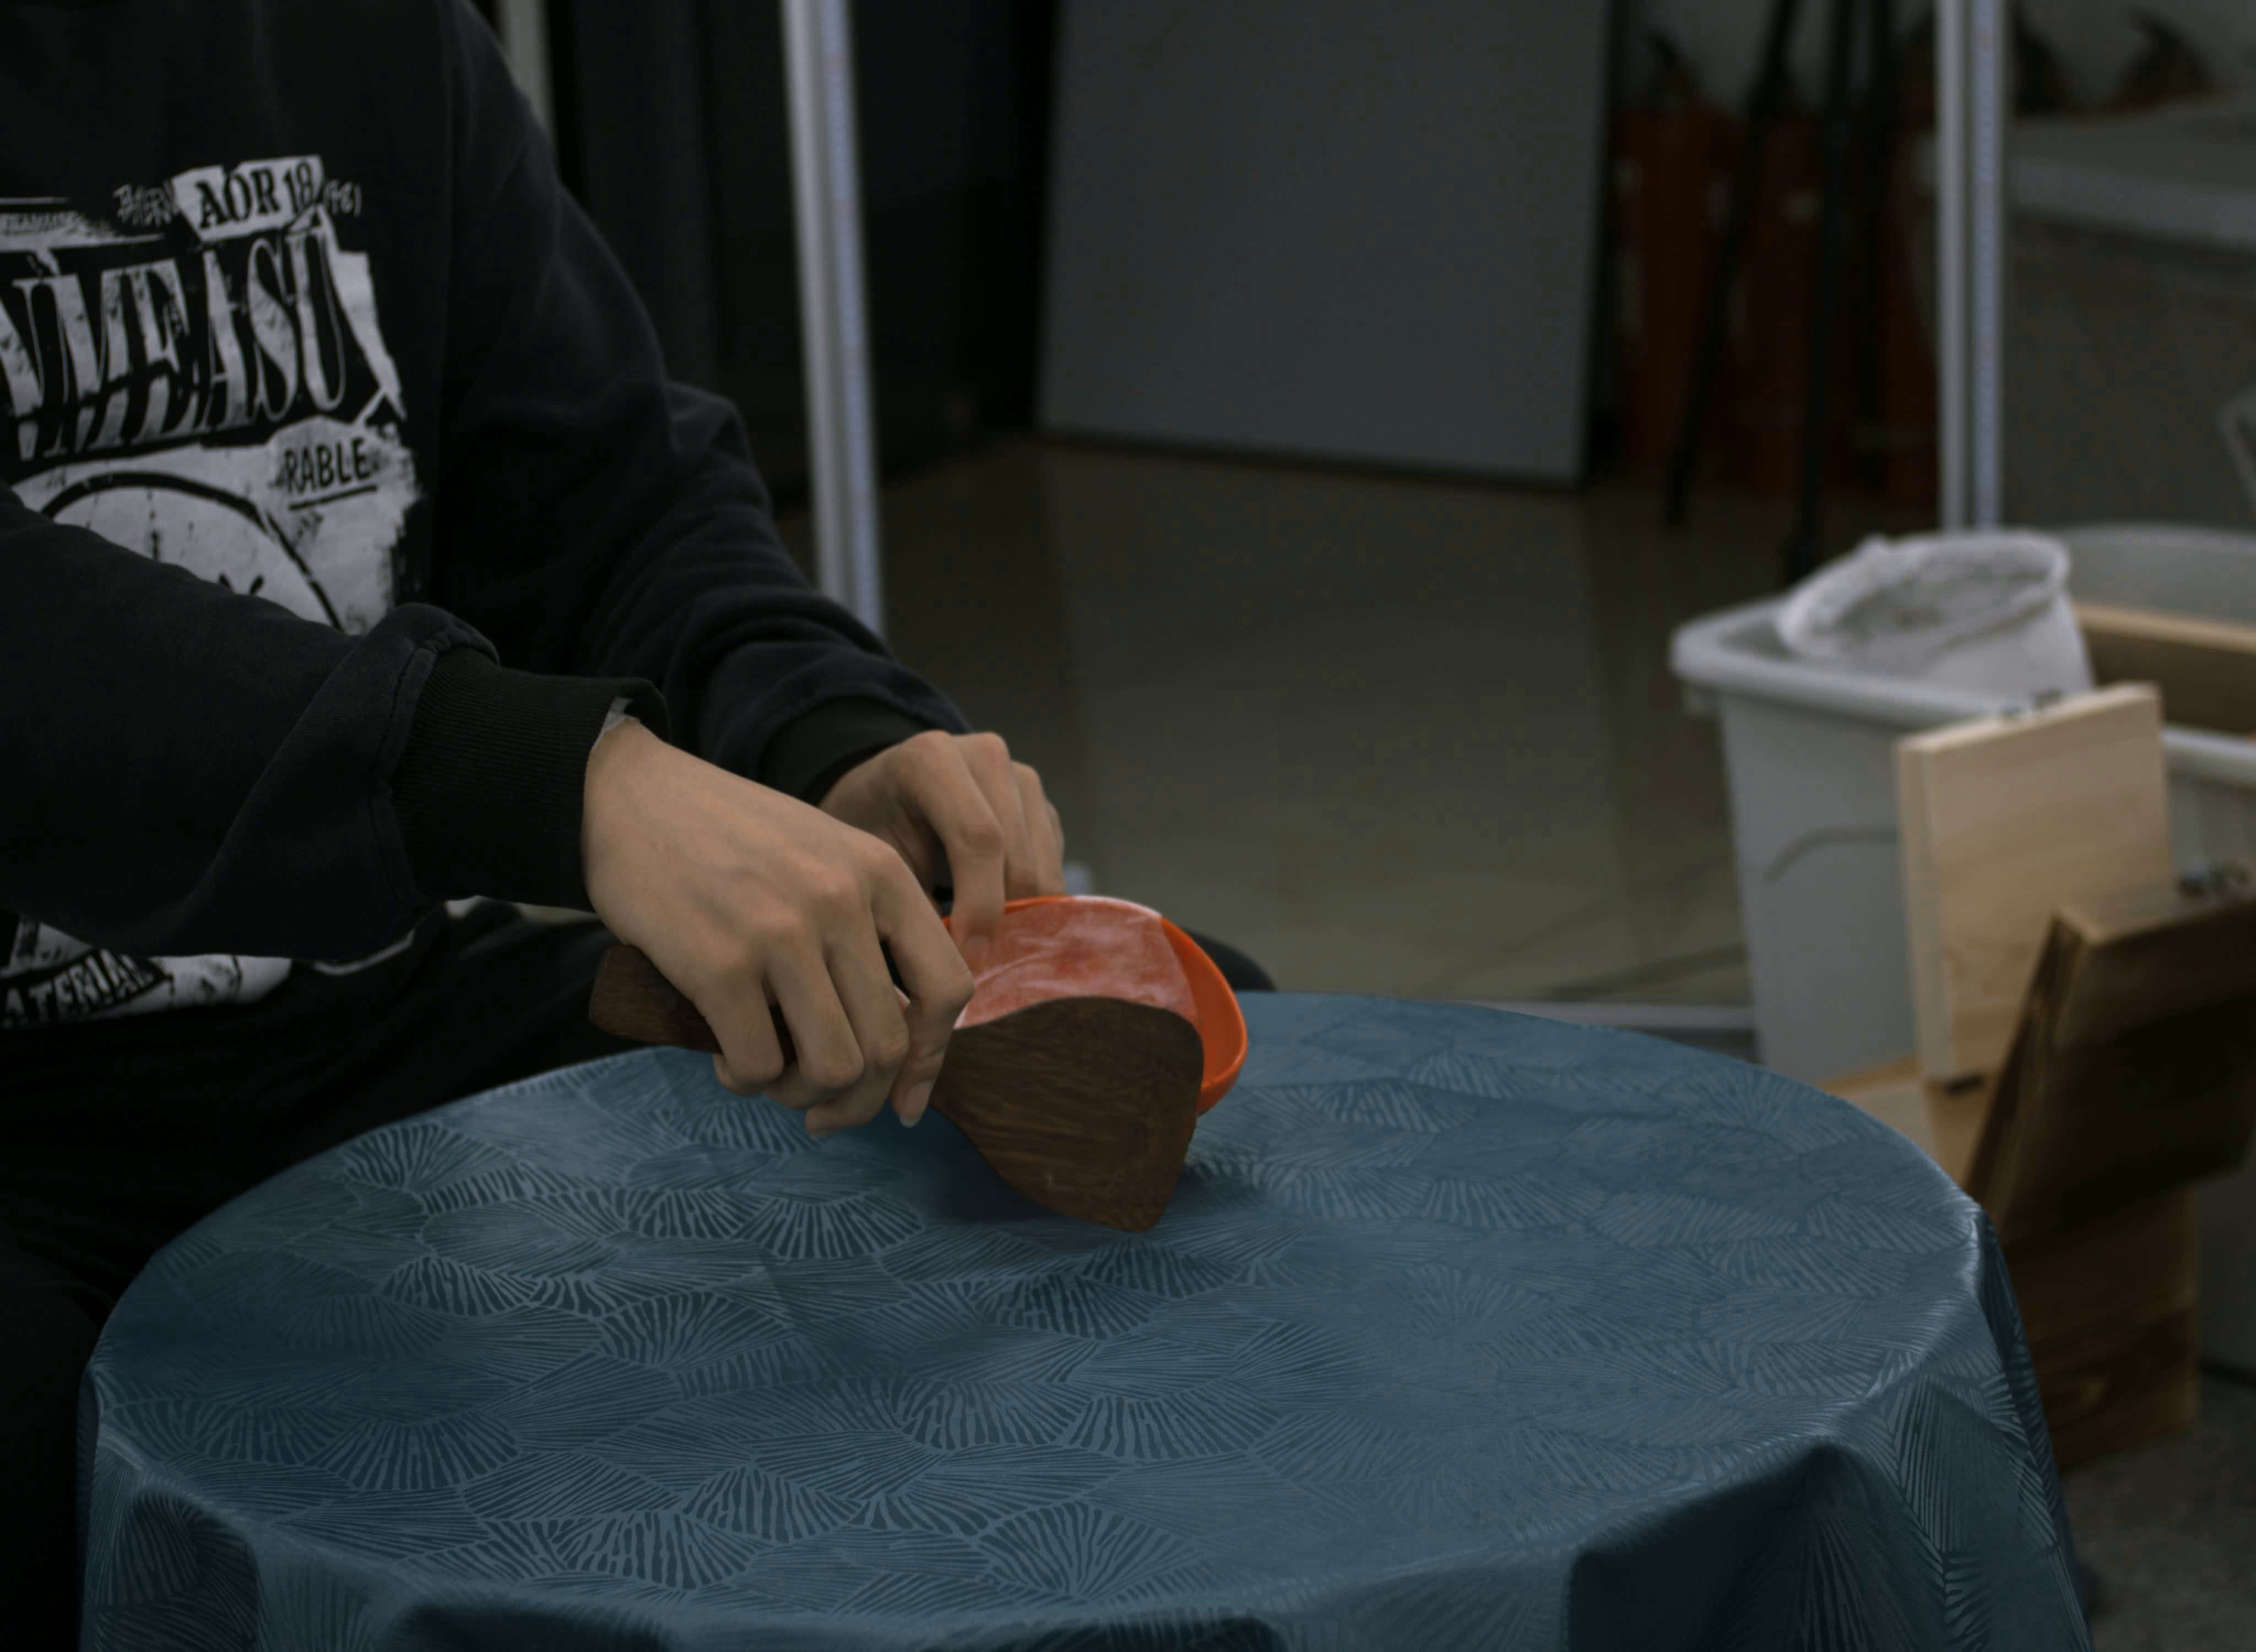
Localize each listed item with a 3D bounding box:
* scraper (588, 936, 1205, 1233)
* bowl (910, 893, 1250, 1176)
[{"bbox_3d":[-0.071,0.070,1.677,0.207,0.077,0.011,16,-2,-25],"label":"scraper"},{"bbox_3d":[-0.020,0.077,1.800,0.117,0.052,0.119,8,36,-7],"label":"bowl"}]
